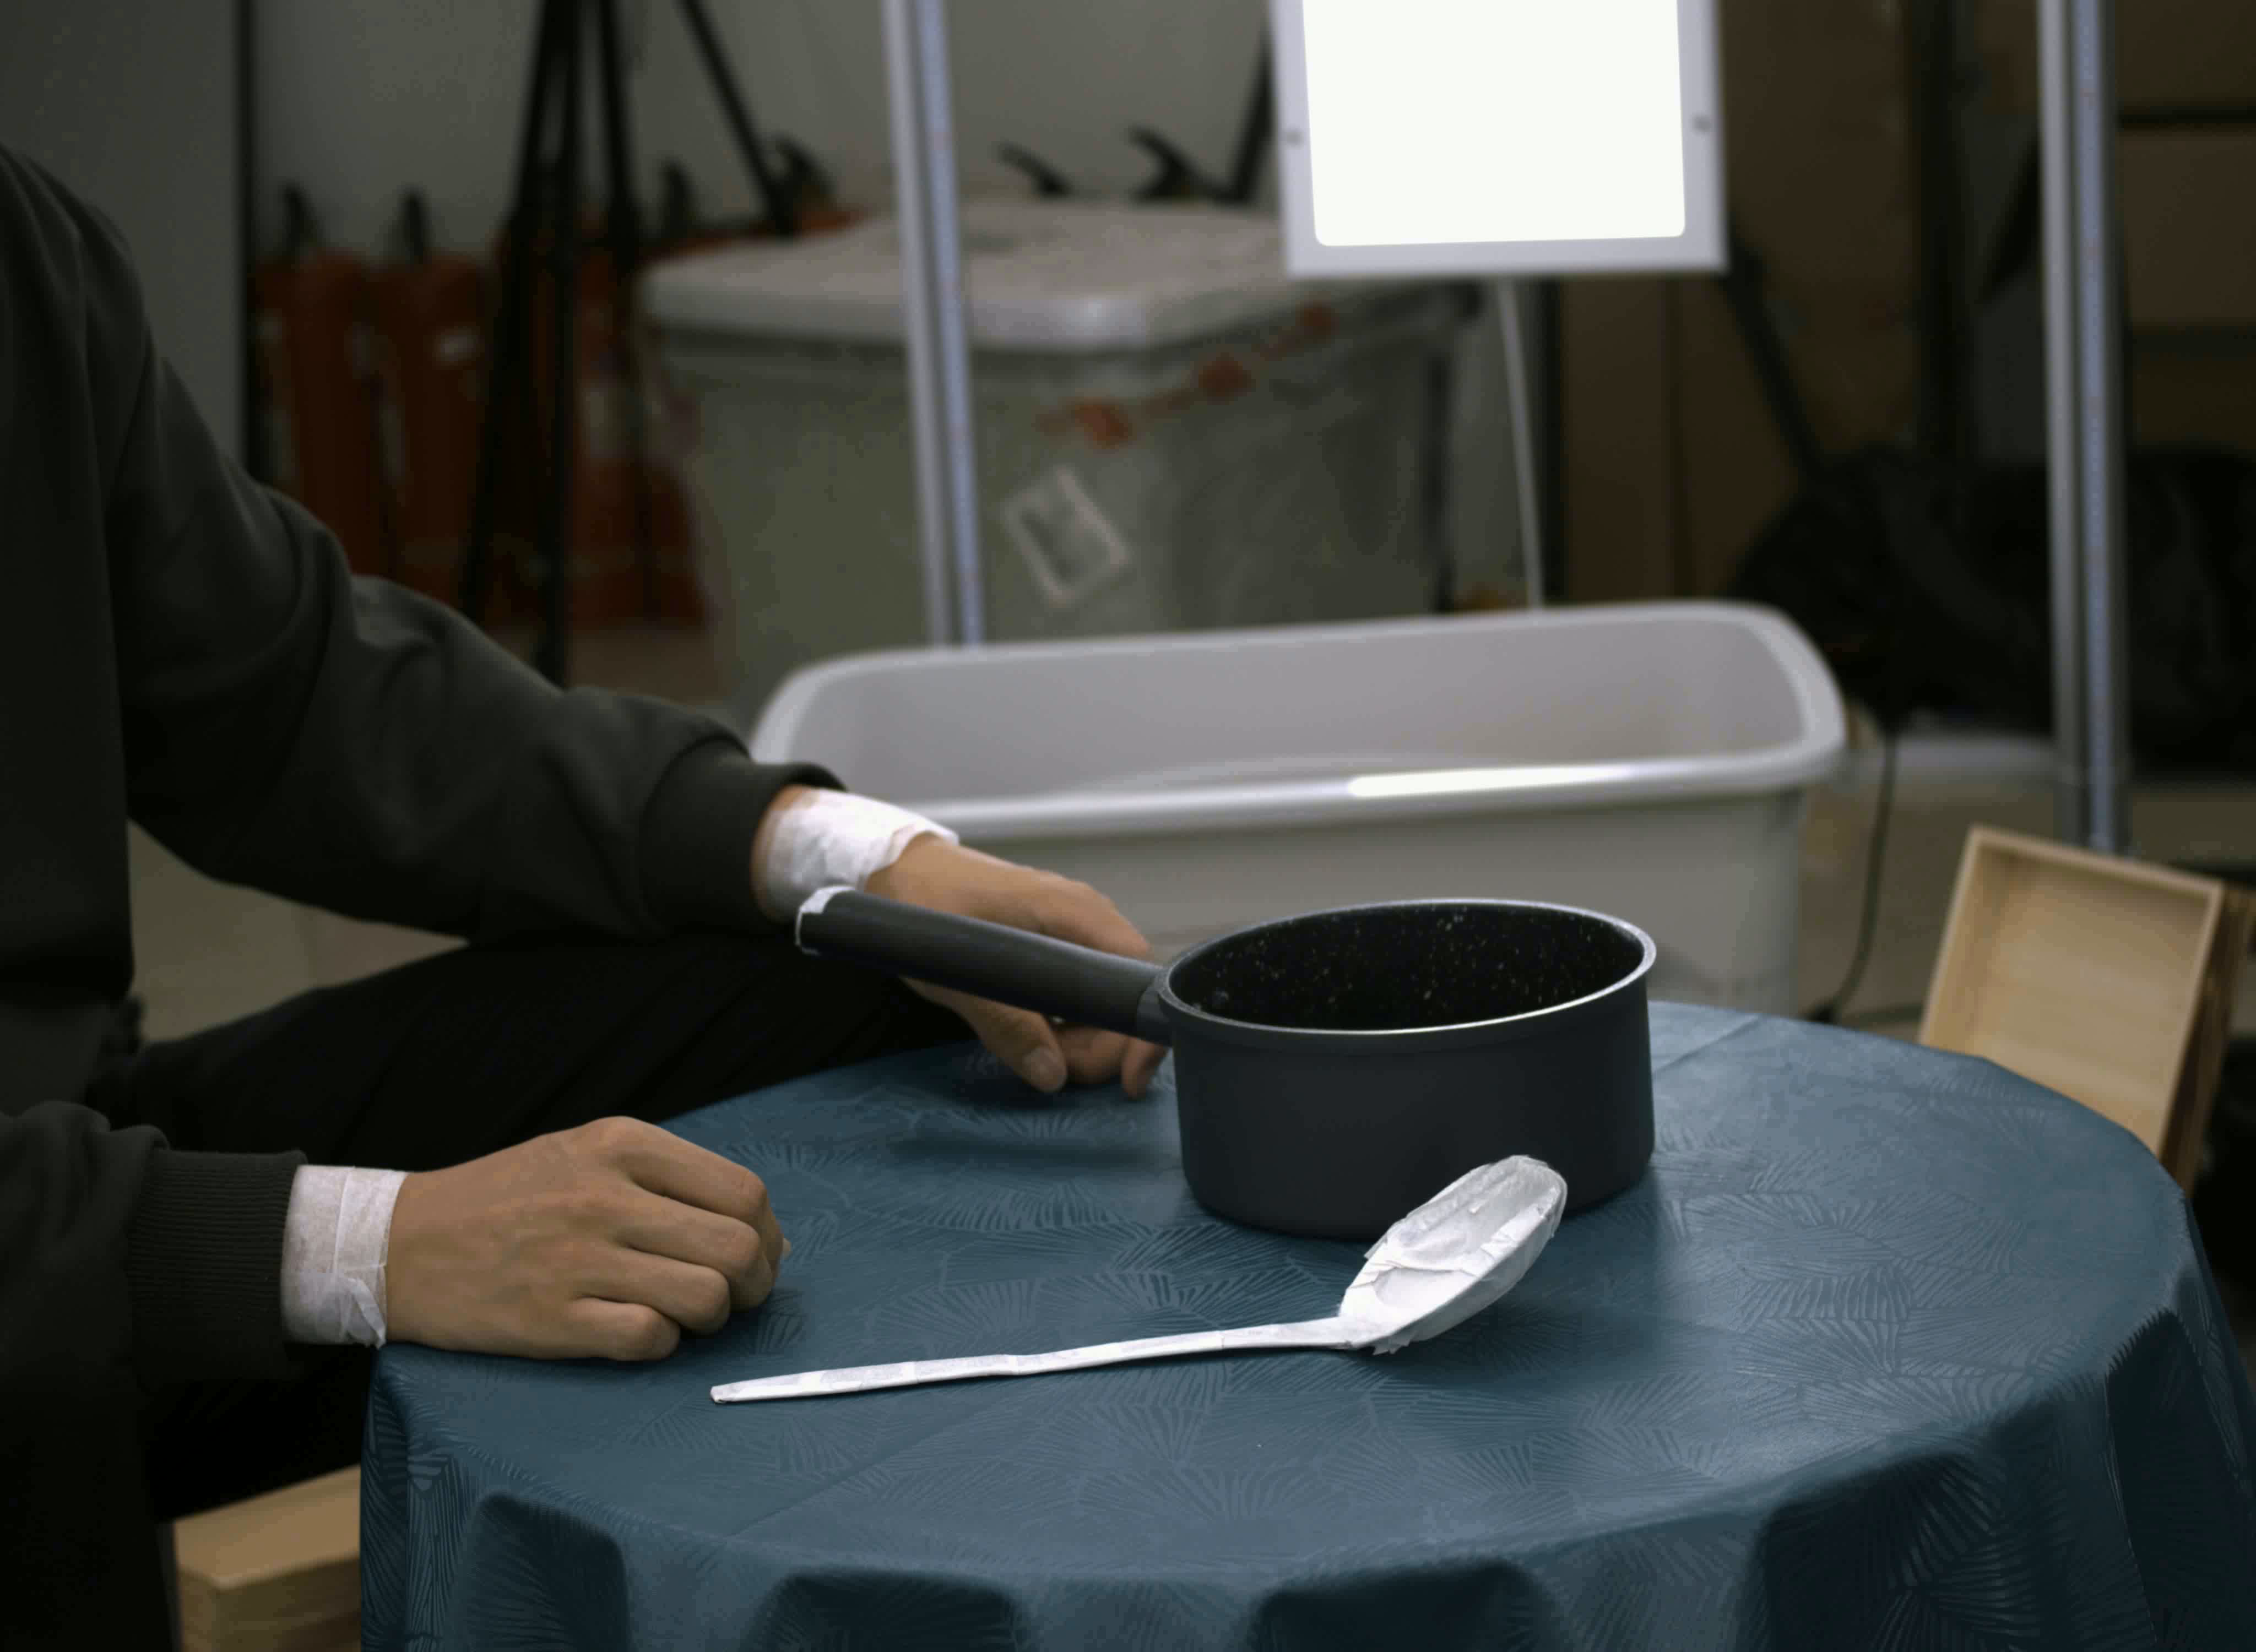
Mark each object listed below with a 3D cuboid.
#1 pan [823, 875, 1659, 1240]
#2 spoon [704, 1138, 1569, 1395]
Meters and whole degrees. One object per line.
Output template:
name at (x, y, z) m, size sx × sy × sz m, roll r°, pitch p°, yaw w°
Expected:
pan at (0.032, 0.074, 1.931) m, size 0.335 × 0.087 × 0.168 m, roll 5°, pitch 16°, yaw 35°
spoon at (0.002, 0.138, 1.733) m, size 0.277 × 0.059 × 0.100 m, roll -5°, pitch 11°, yaw 3°
